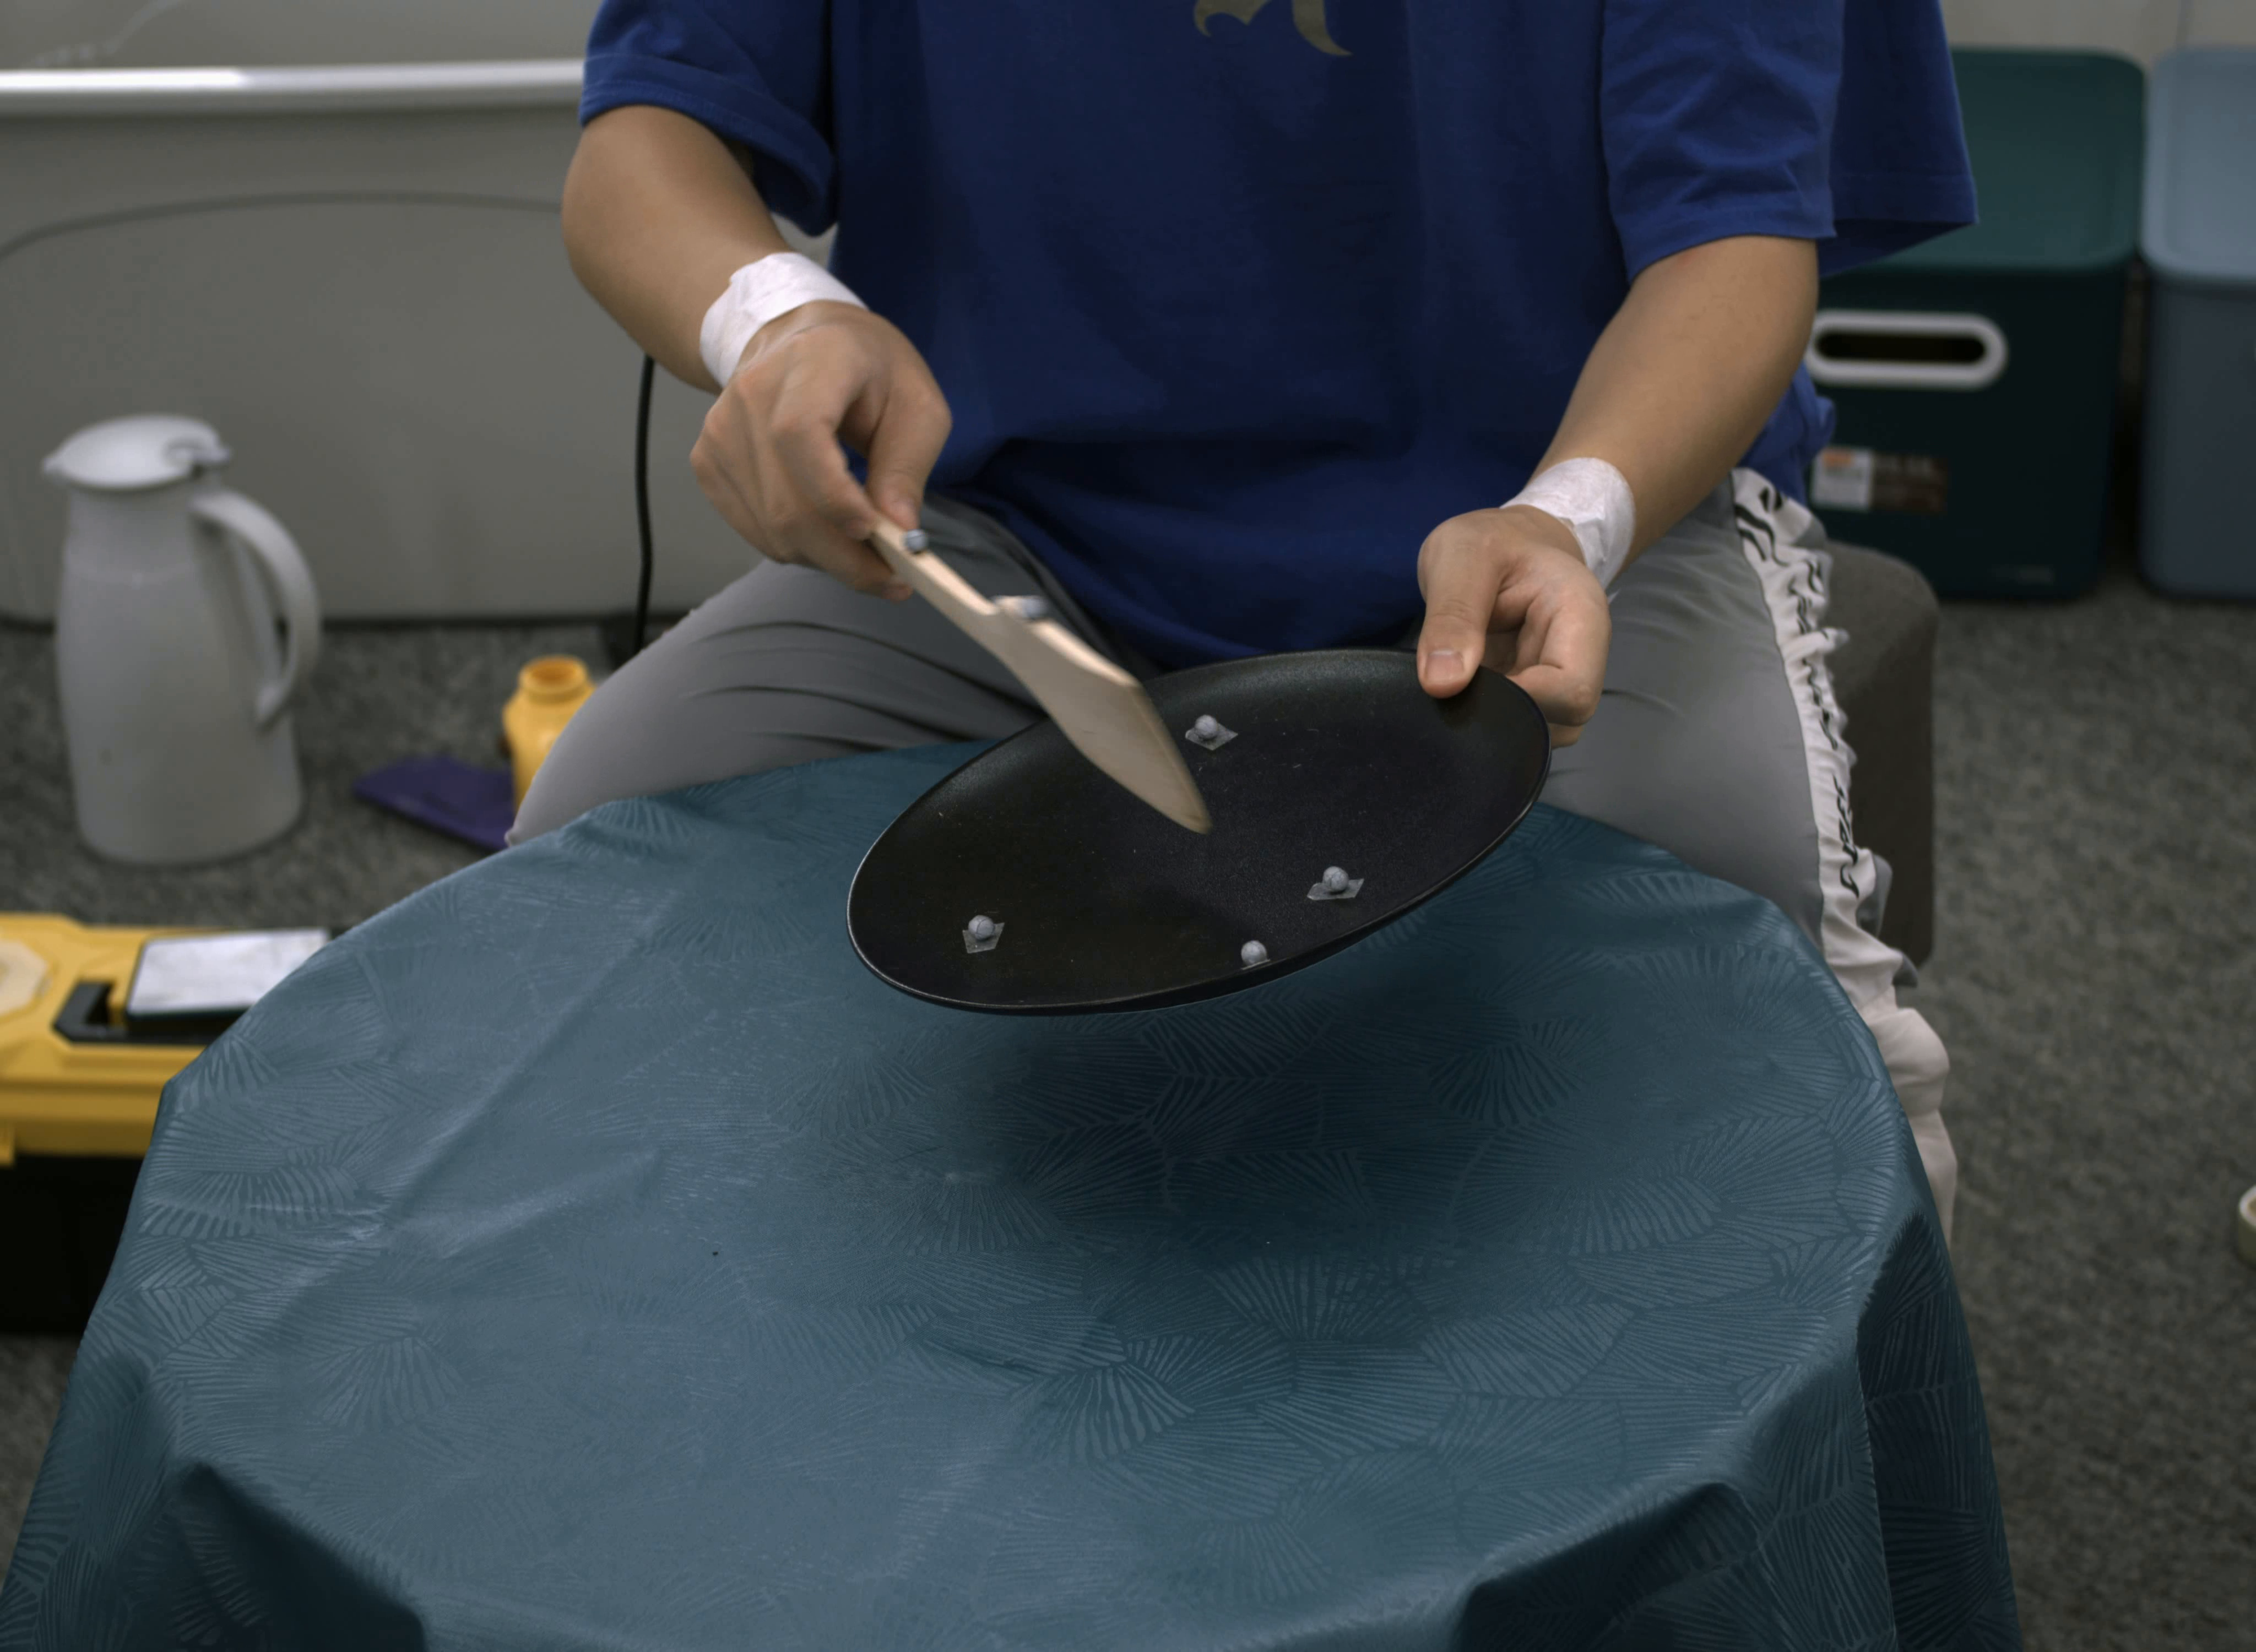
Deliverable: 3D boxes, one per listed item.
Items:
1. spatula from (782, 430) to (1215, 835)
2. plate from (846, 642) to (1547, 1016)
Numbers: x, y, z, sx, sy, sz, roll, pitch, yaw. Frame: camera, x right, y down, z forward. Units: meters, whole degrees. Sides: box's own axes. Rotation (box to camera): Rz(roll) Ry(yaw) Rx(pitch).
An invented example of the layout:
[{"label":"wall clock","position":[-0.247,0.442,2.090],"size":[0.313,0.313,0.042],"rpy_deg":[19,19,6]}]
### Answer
[{"label":"spatula","position":[-0.054,-0.079,1.942],"size":[0.011,0.071,0.294],"rpy_deg":[-34,36,-12]},{"label":"plate","position":[0.024,0.005,1.874],"size":[0.243,0.023,0.248],"rpy_deg":[-14,25,7]}]
